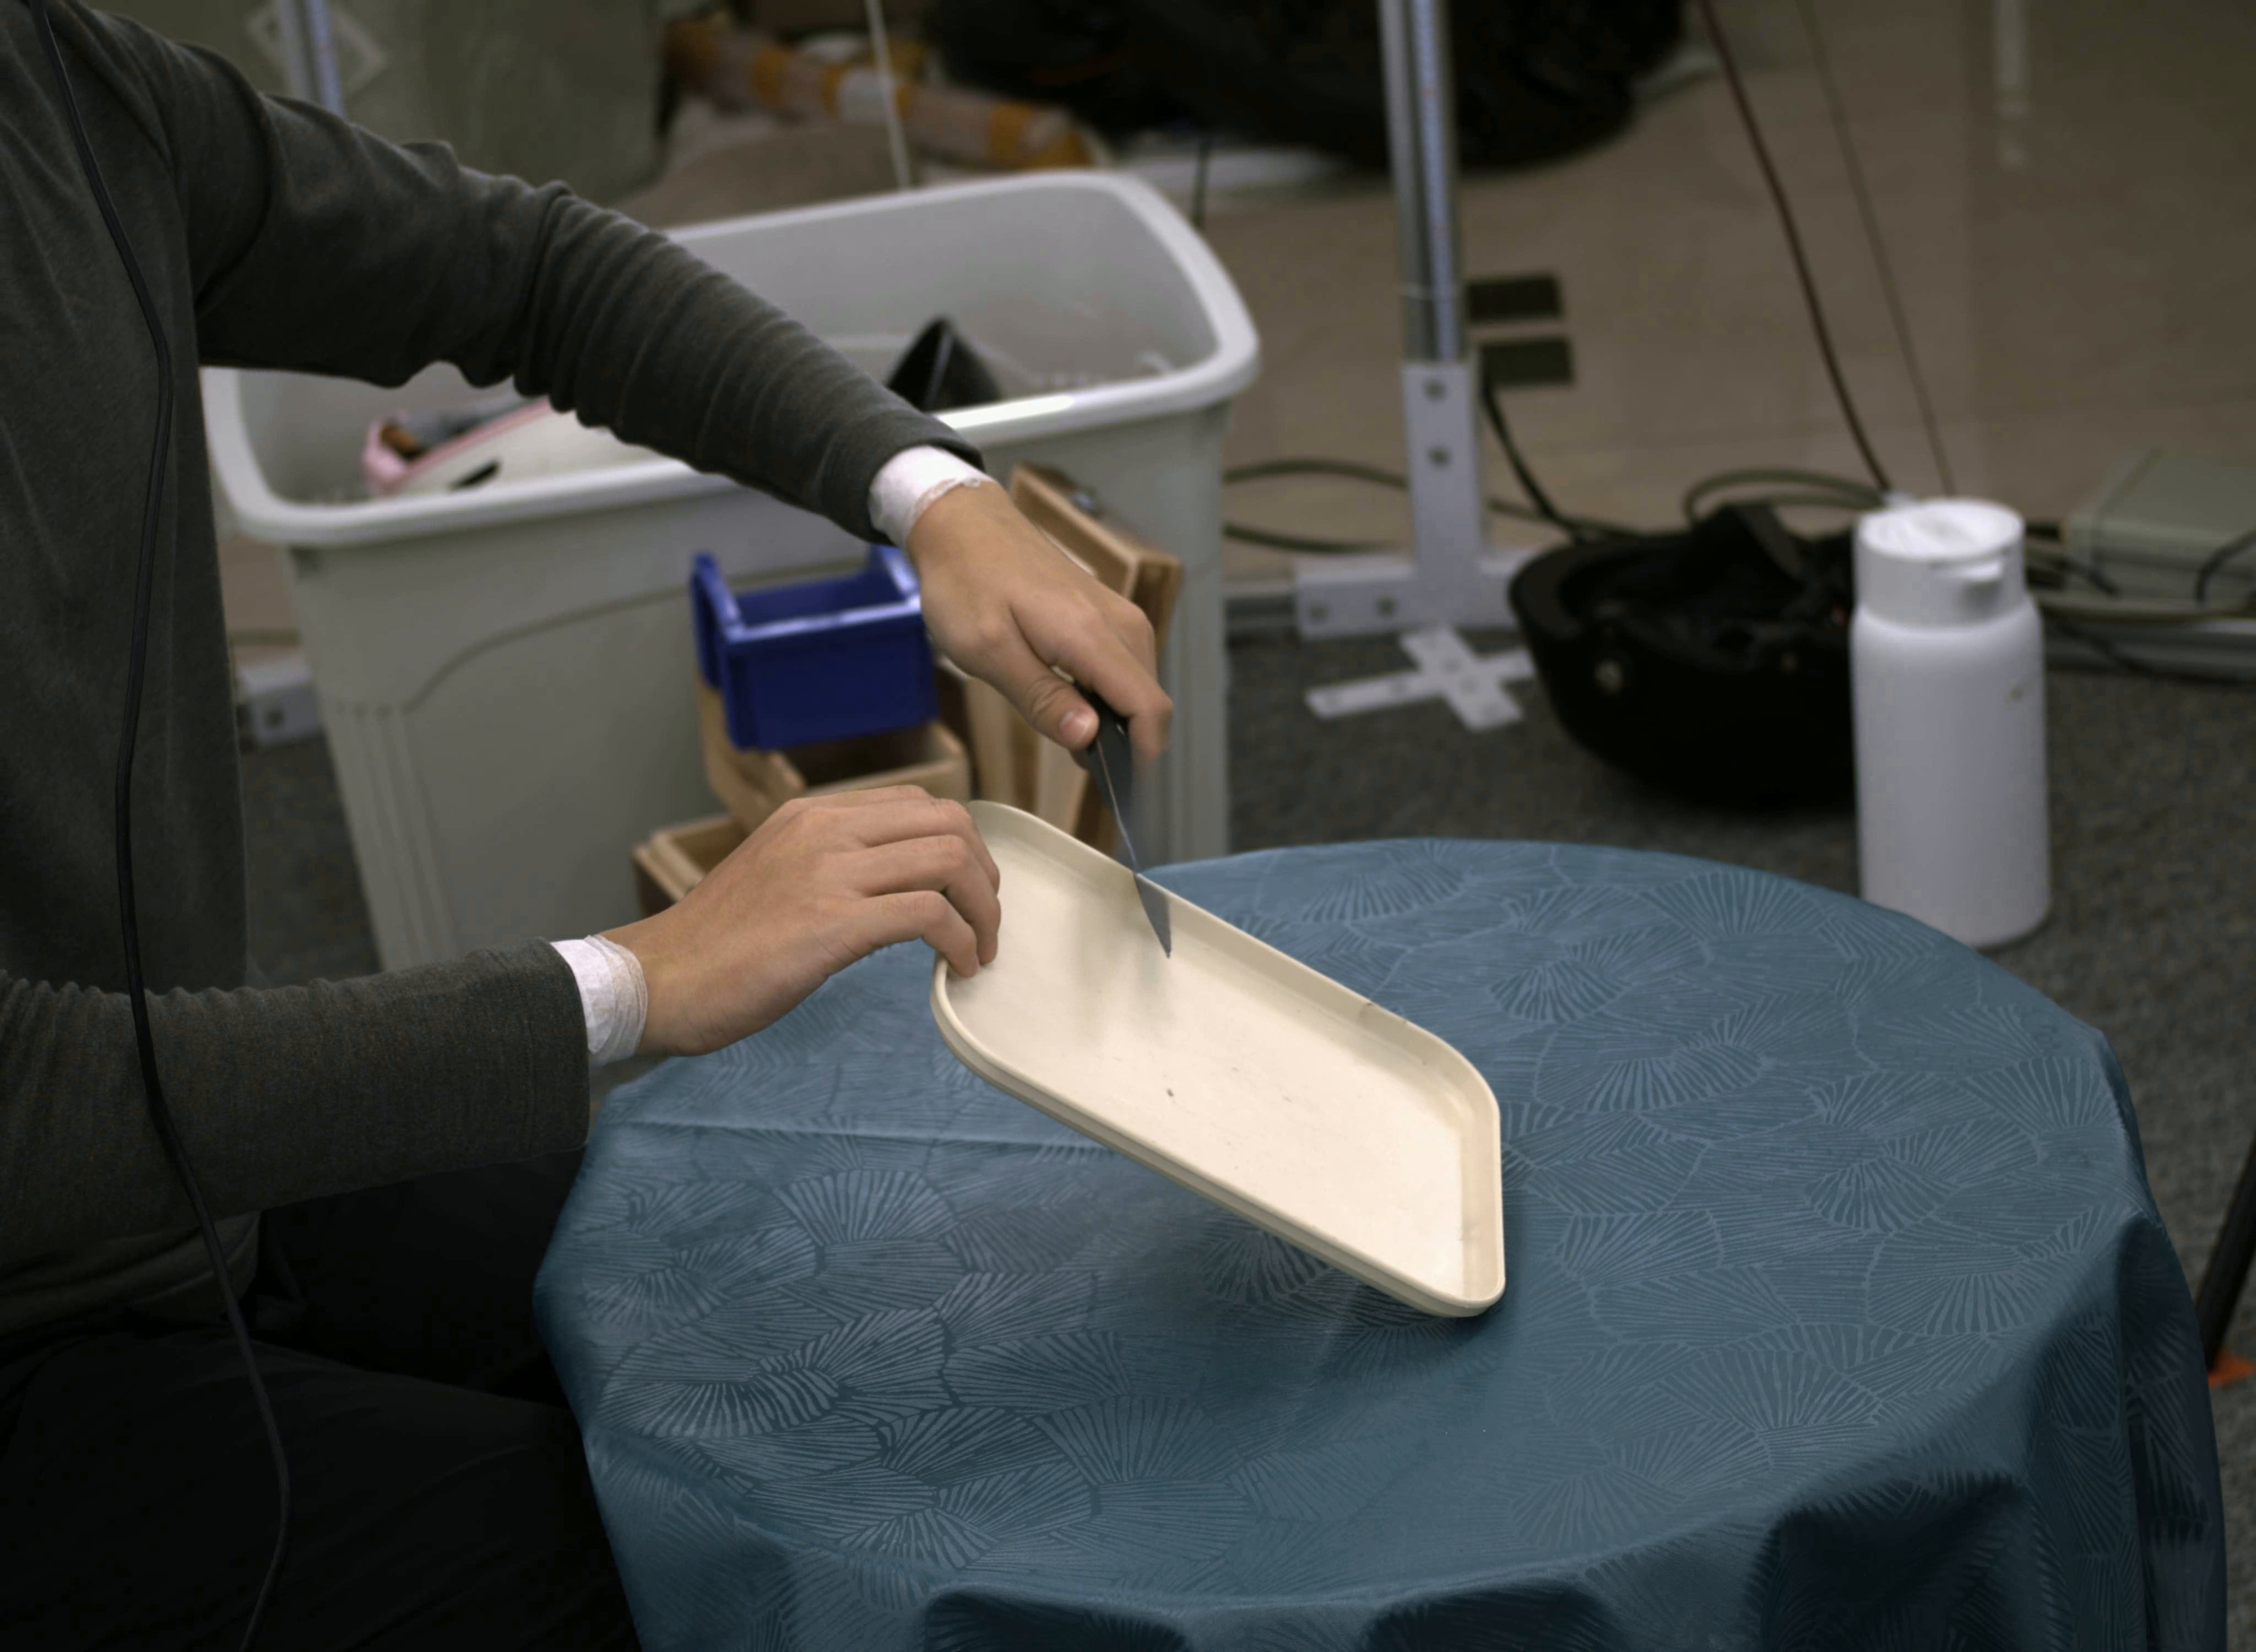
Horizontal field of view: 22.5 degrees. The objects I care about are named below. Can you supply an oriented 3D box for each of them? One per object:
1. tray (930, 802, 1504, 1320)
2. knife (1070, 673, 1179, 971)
[{"bbox_3d":[0.033,0.087,2.065,0.240,0.018,0.168,29,29,-15],"label":"tray"},{"bbox_3d":[-0.001,-0.003,2.154,0.016,0.025,0.234,-40,26,13],"label":"knife"}]
